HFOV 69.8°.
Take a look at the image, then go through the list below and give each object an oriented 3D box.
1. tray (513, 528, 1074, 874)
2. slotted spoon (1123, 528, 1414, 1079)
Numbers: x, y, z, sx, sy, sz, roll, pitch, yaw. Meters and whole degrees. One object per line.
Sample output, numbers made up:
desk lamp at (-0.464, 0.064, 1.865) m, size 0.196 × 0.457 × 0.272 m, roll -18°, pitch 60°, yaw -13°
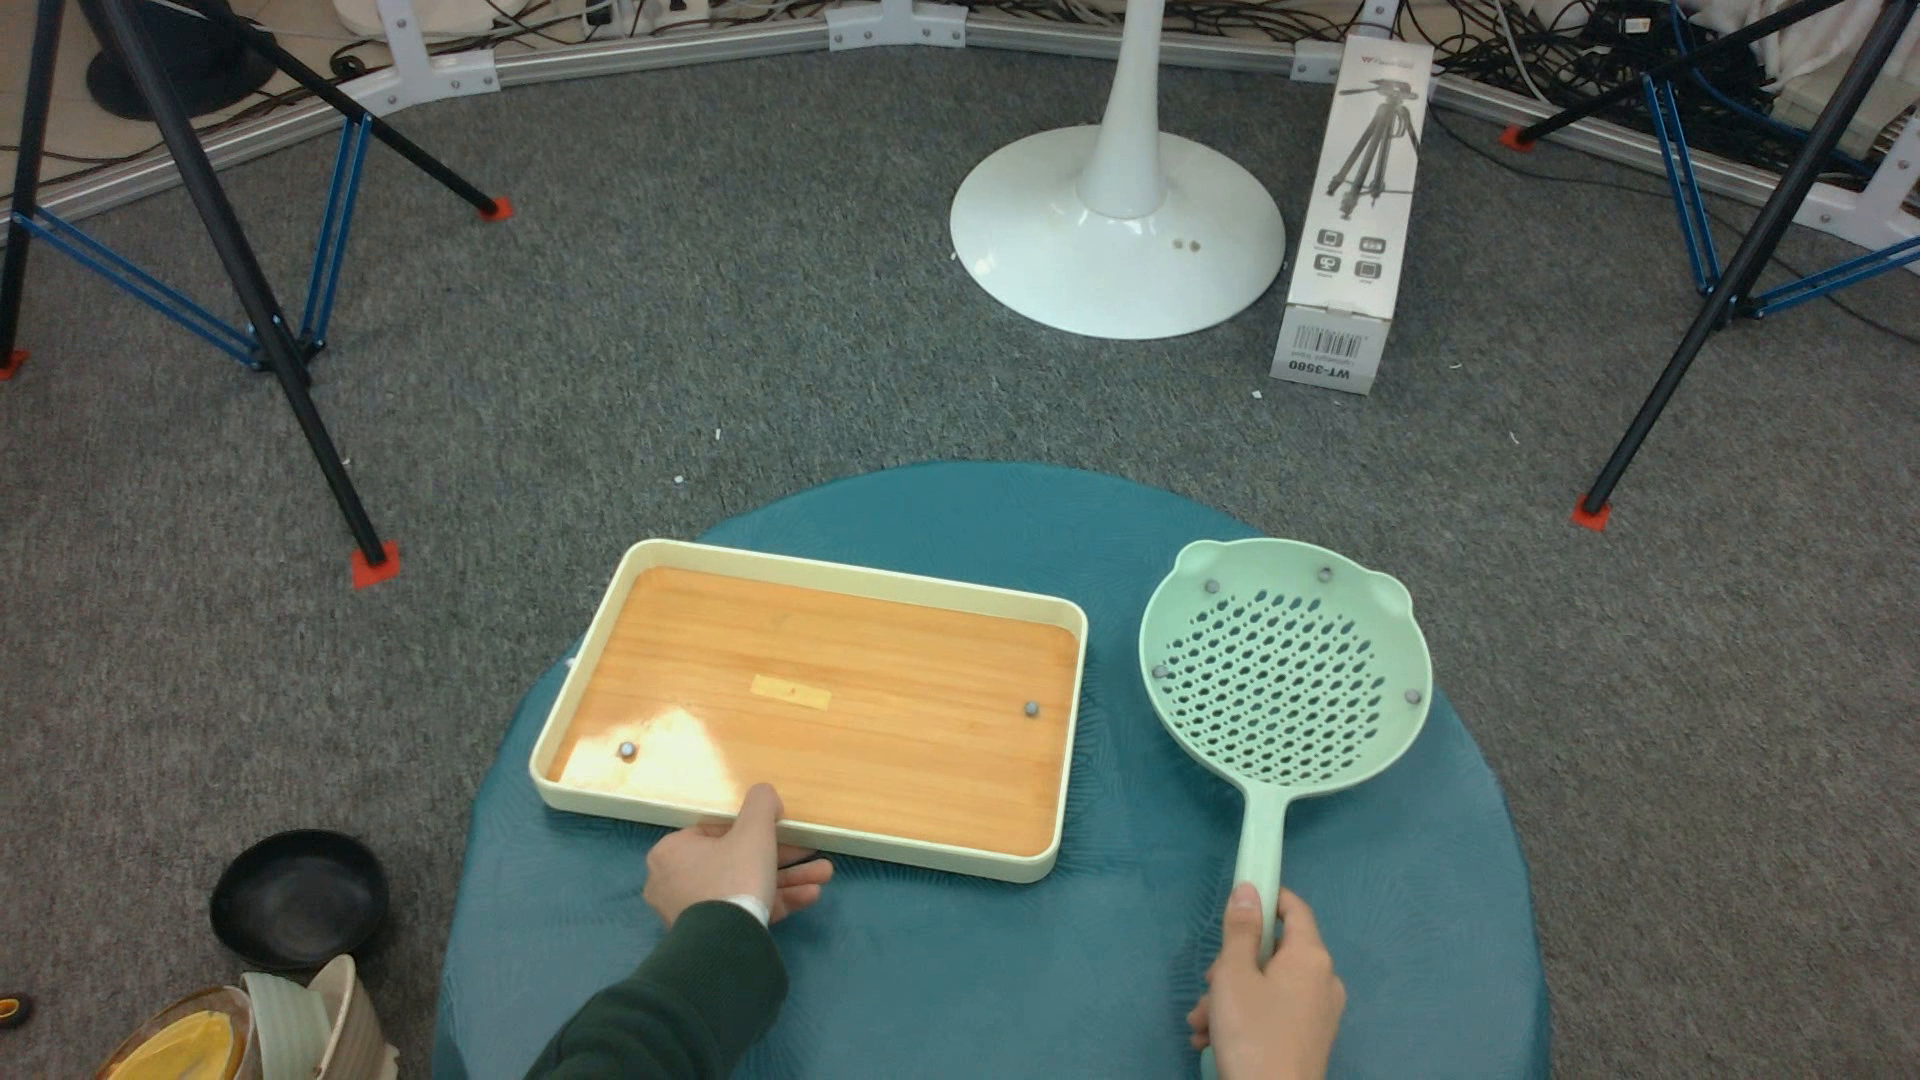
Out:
tray at (-0.090, 0.088, 0.818) m, size 0.300 × 0.027 × 0.192 m, roll 8°, pitch 48°, yaw 5°
slotted spoon at (0.158, 0.147, 0.760) m, size 0.169 × 0.075 × 0.361 m, roll 11°, pitch 48°, yaw 8°
